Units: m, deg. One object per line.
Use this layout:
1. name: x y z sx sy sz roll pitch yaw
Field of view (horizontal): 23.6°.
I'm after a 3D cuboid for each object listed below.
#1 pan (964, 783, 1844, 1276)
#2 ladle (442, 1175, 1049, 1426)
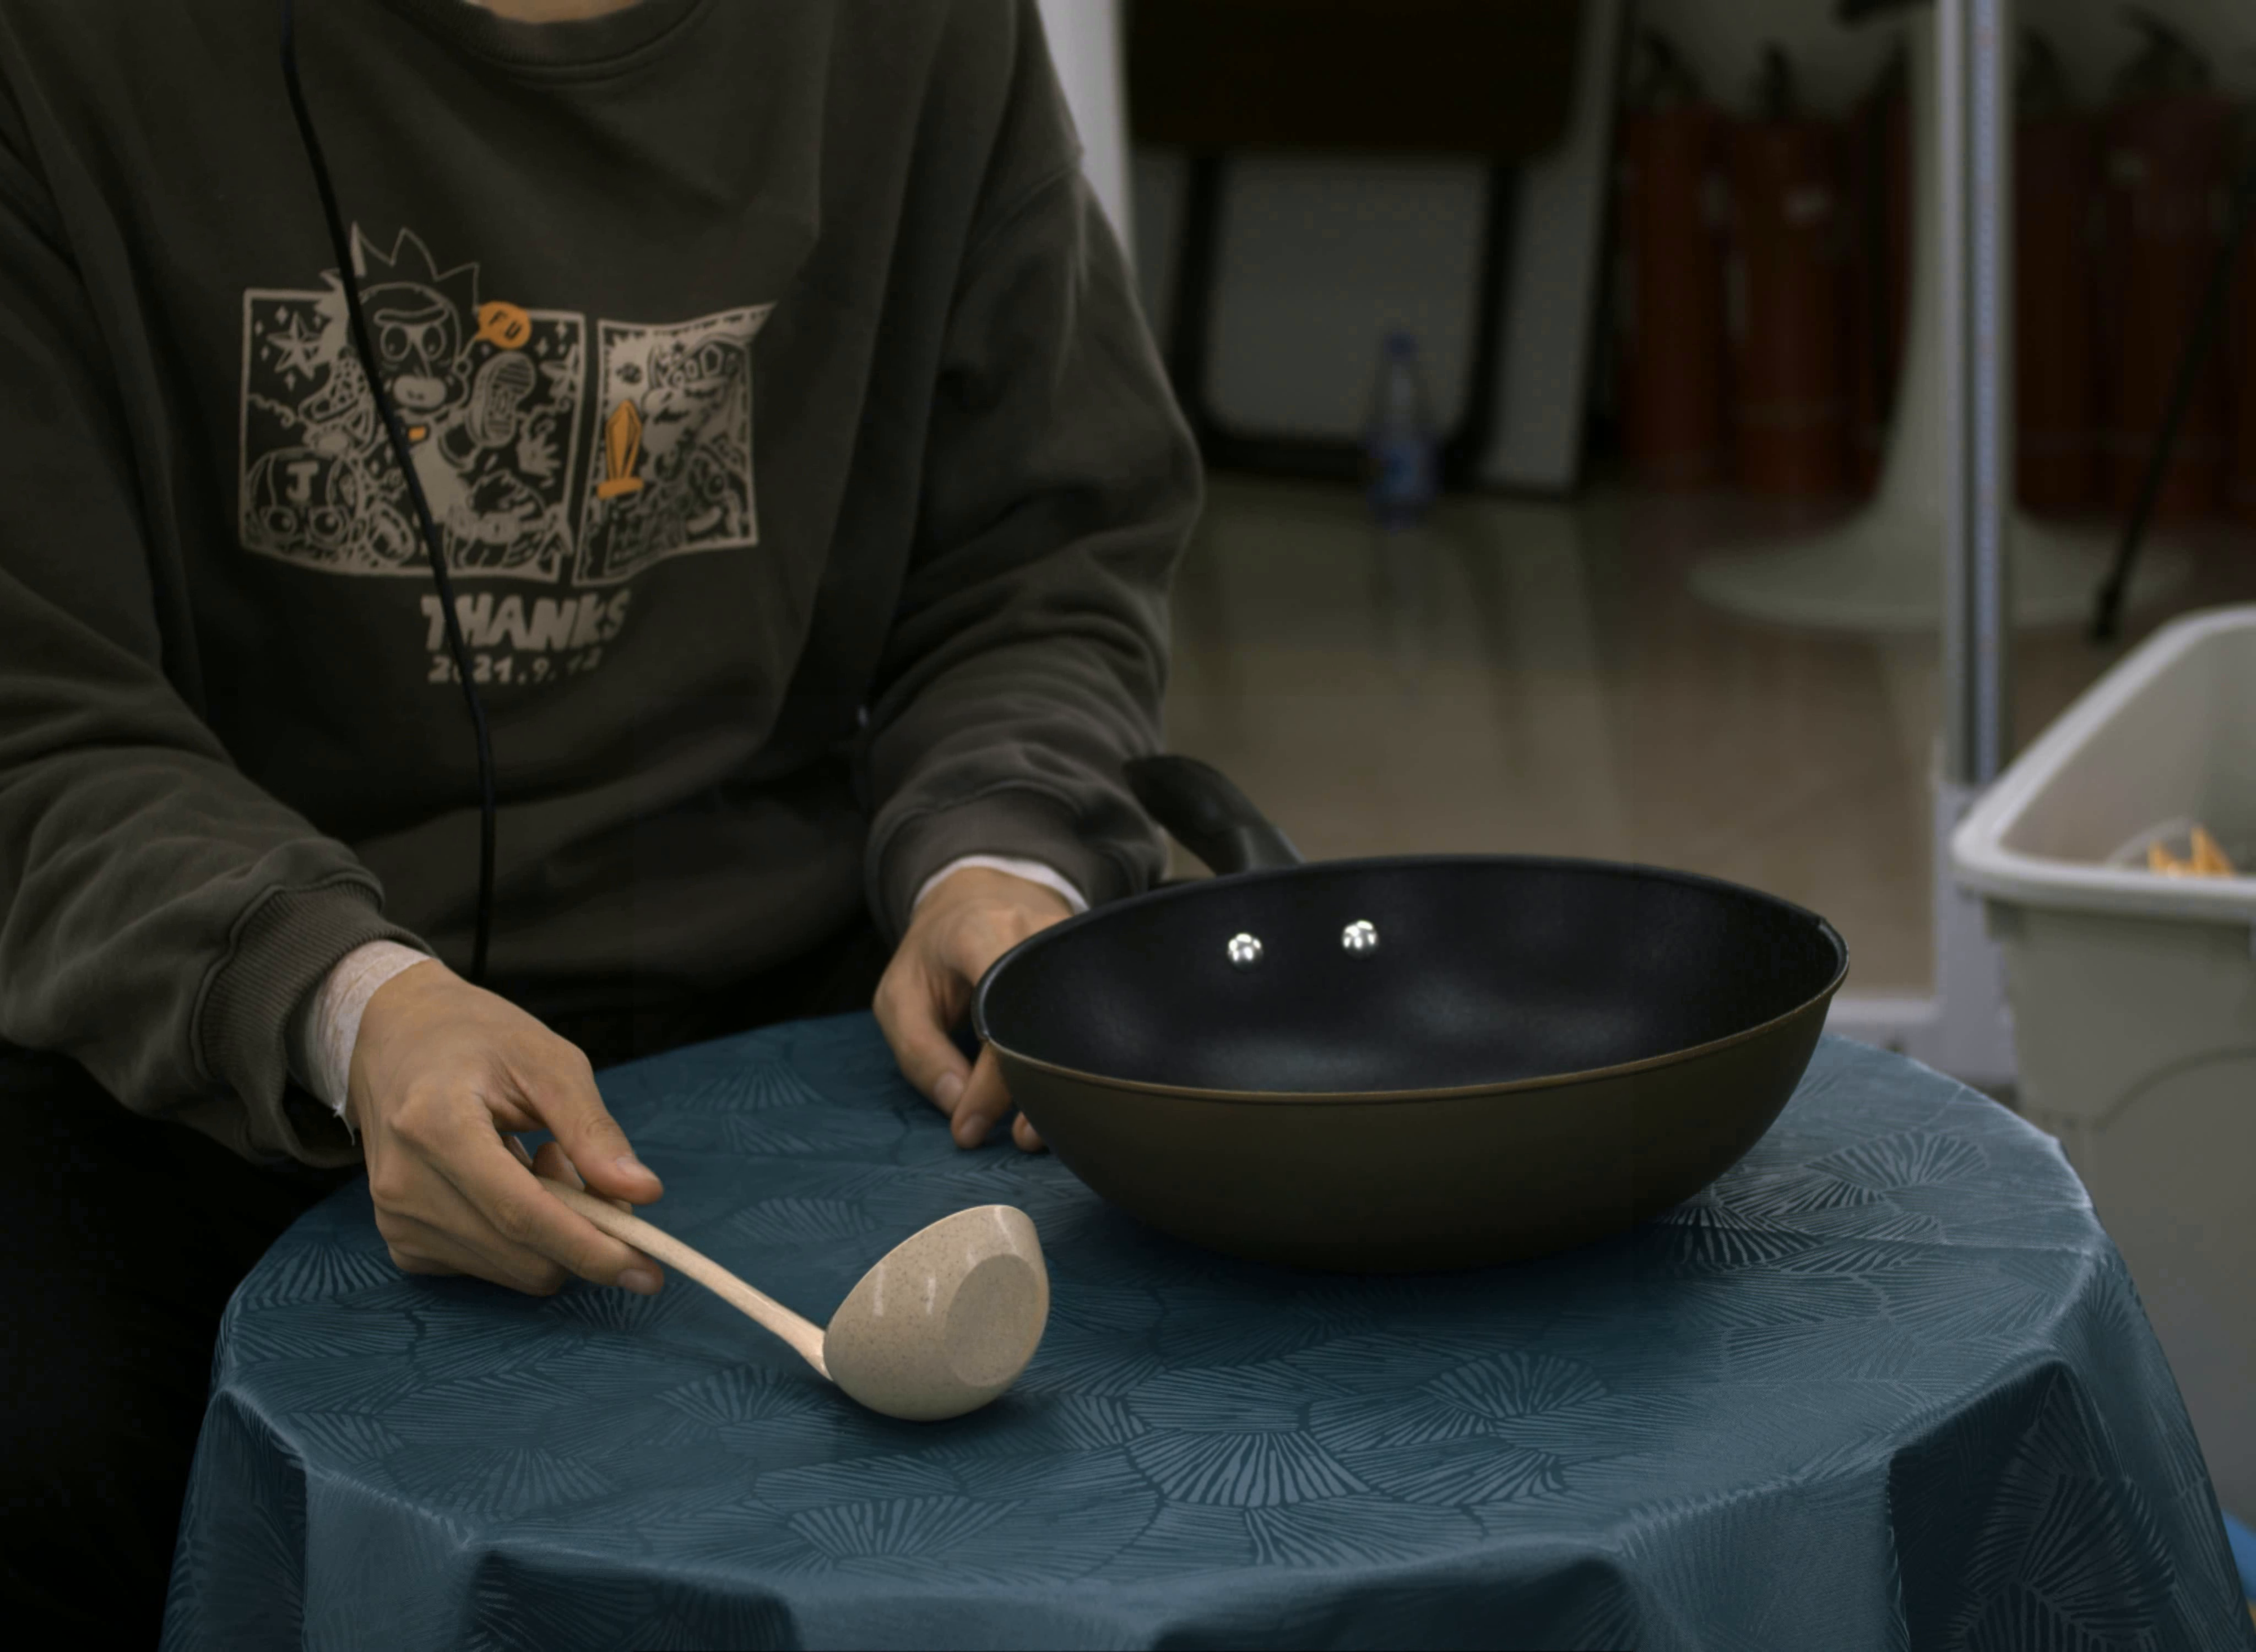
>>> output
1. pan: 0.068 0.065 1.815 0.283 0.088 0.466 -7 12 -12
2. ladle: -0.125 0.114 1.636 0.070 0.073 0.257 -11 22 -43
